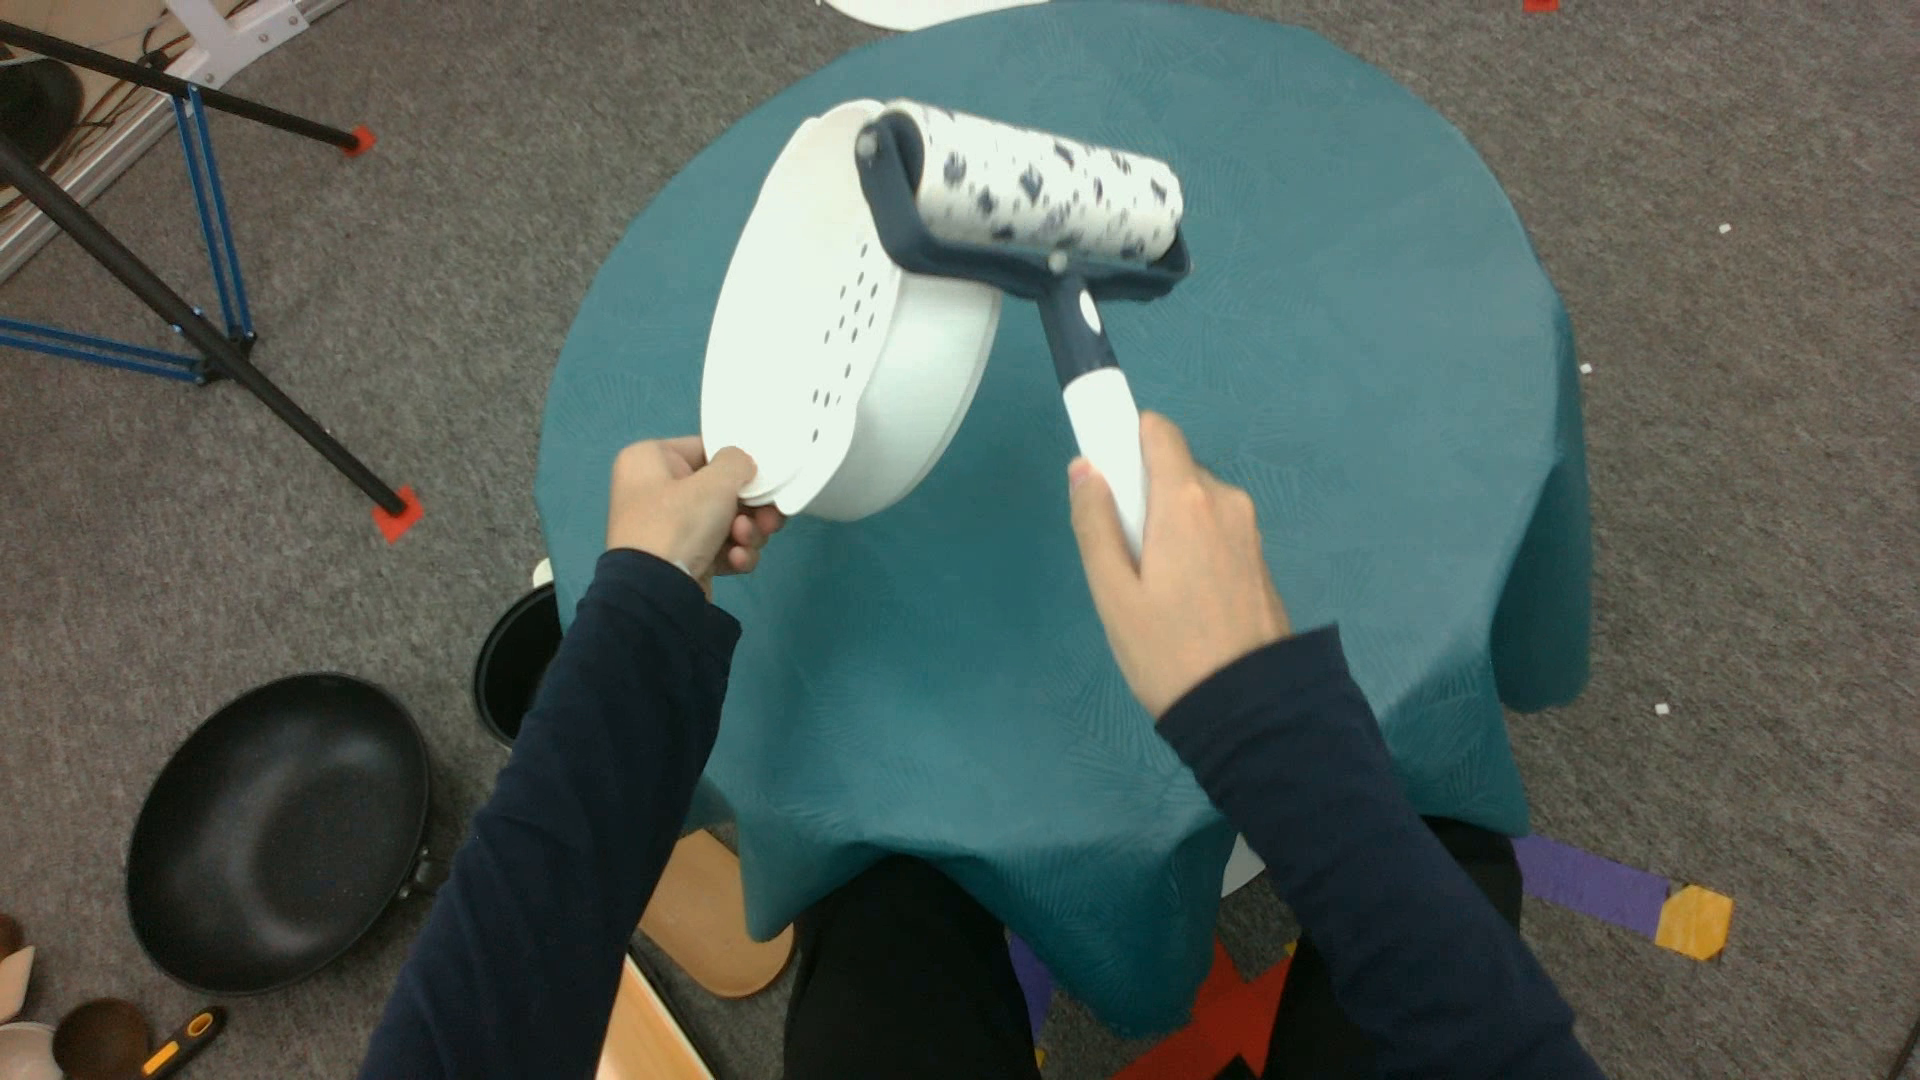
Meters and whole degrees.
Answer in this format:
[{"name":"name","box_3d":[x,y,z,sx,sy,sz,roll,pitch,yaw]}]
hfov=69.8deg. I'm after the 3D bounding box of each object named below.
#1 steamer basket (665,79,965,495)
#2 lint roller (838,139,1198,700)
[{"name":"steamer basket","box_3d":[-0.073,-0.122,0.687,0.201,0.069,0.231,-43,46,37]},{"name":"lint roller","box_3d":[0.056,-0.054,0.586,0.050,0.177,0.247,-34,71,42]}]
